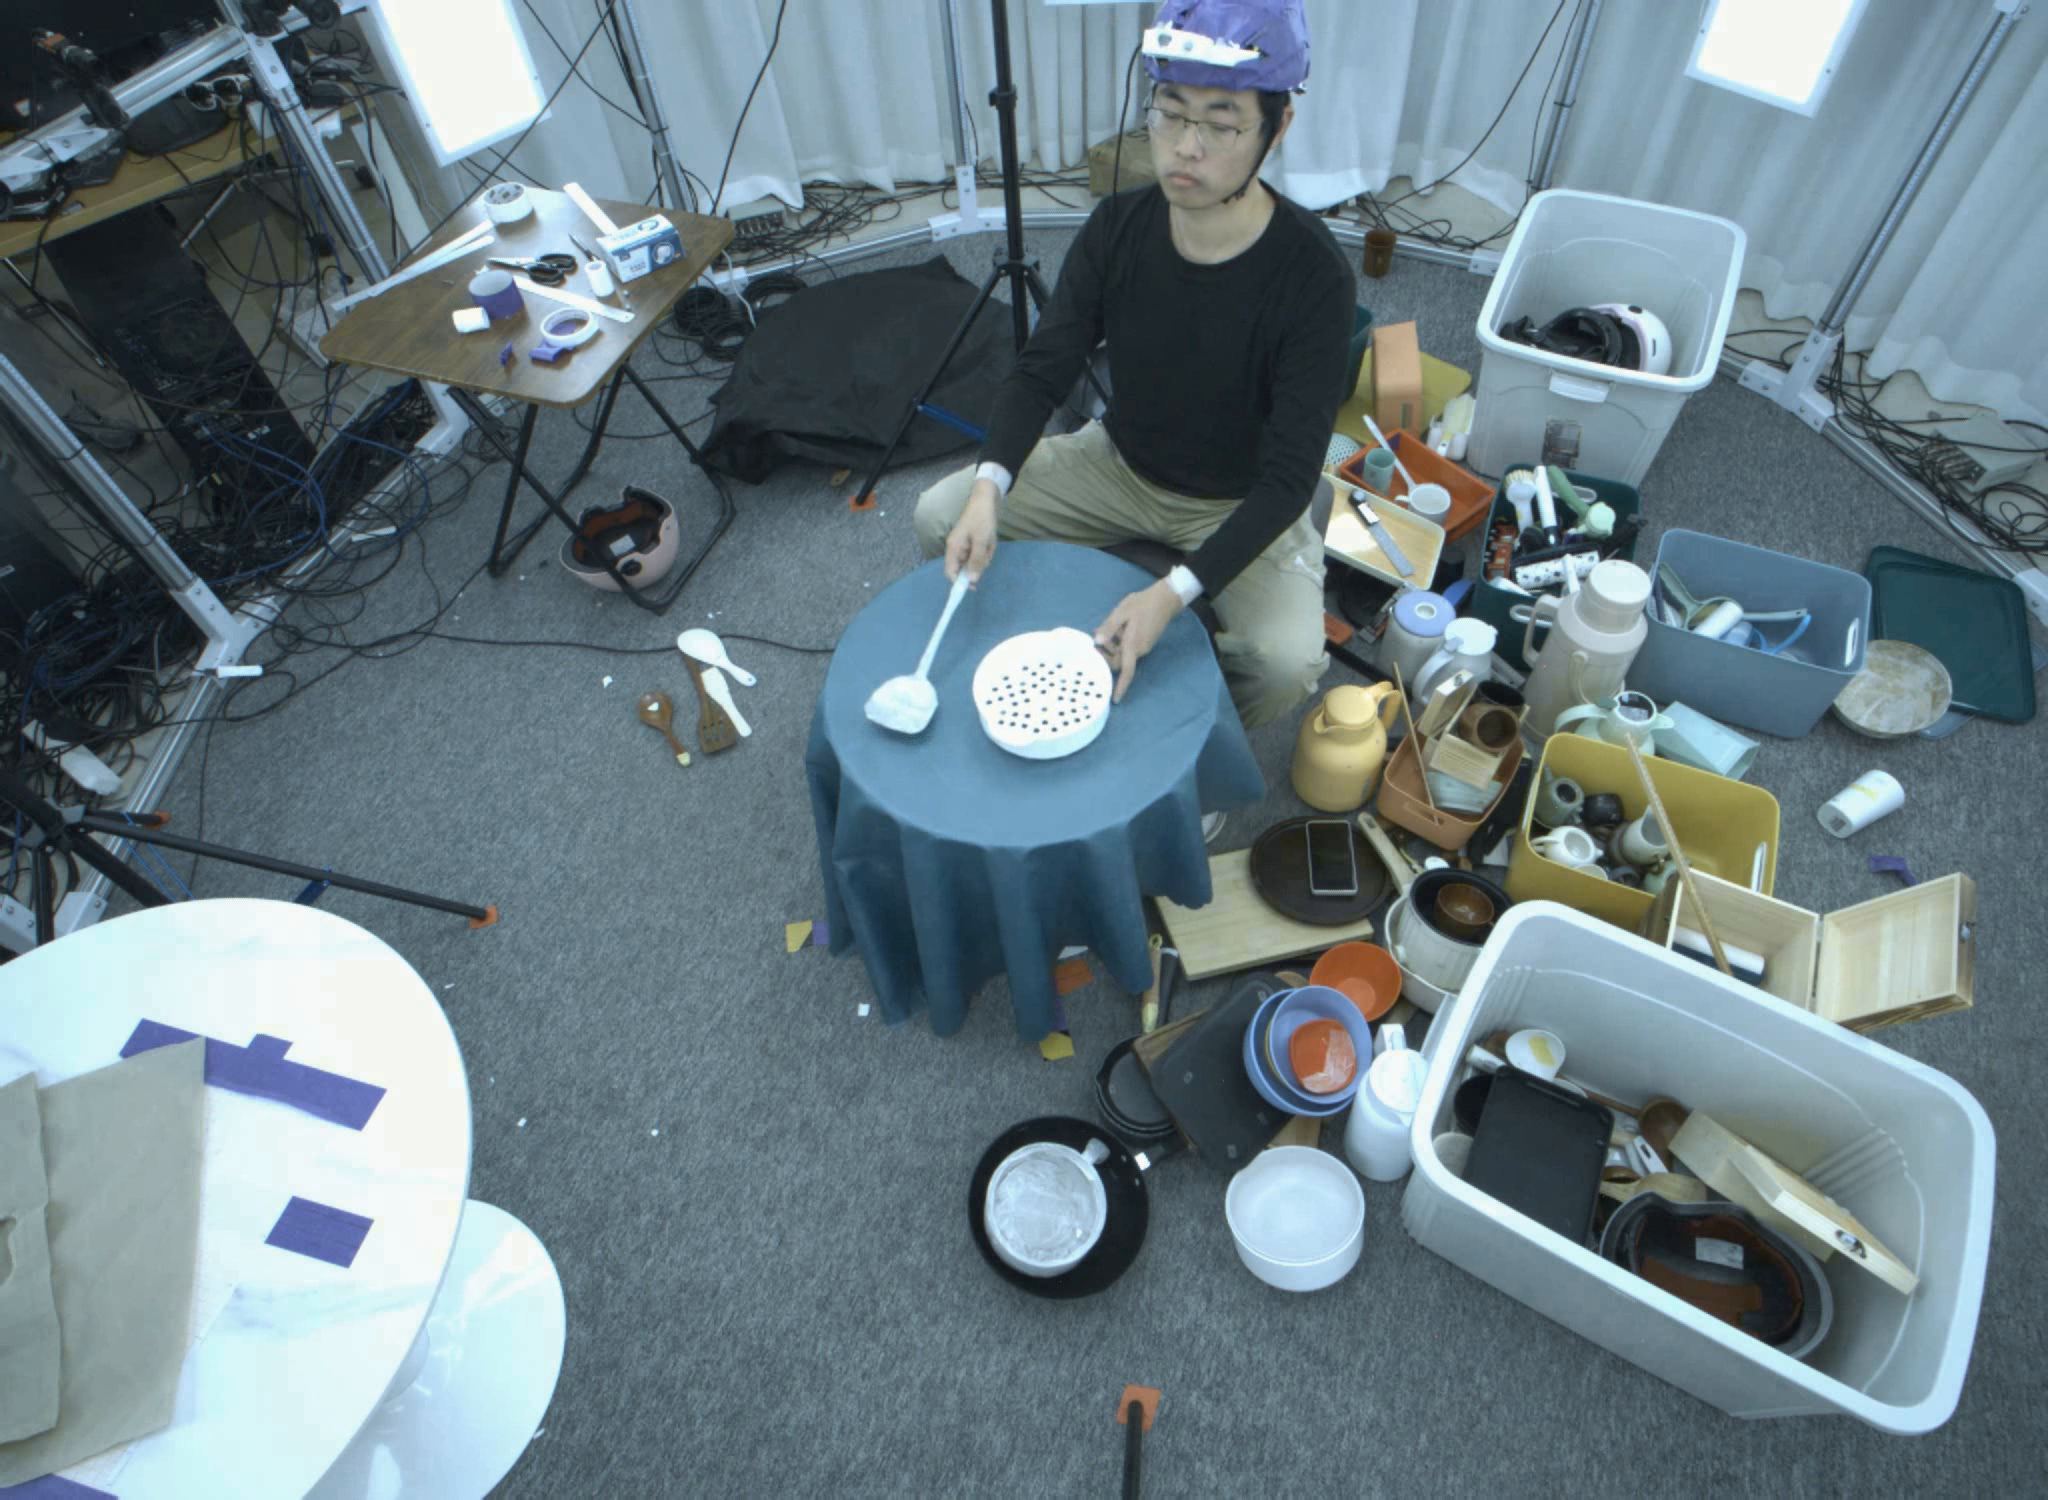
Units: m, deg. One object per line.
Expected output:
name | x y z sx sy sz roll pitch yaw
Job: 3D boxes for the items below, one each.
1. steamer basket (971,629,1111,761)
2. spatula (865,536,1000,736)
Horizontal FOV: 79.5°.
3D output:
steamer basket | 0.025 -0.076 1.798 0.199 0.070 0.231 23 58 16
spatula | -0.123 -0.183 1.846 0.098 0.045 0.364 21 76 12
